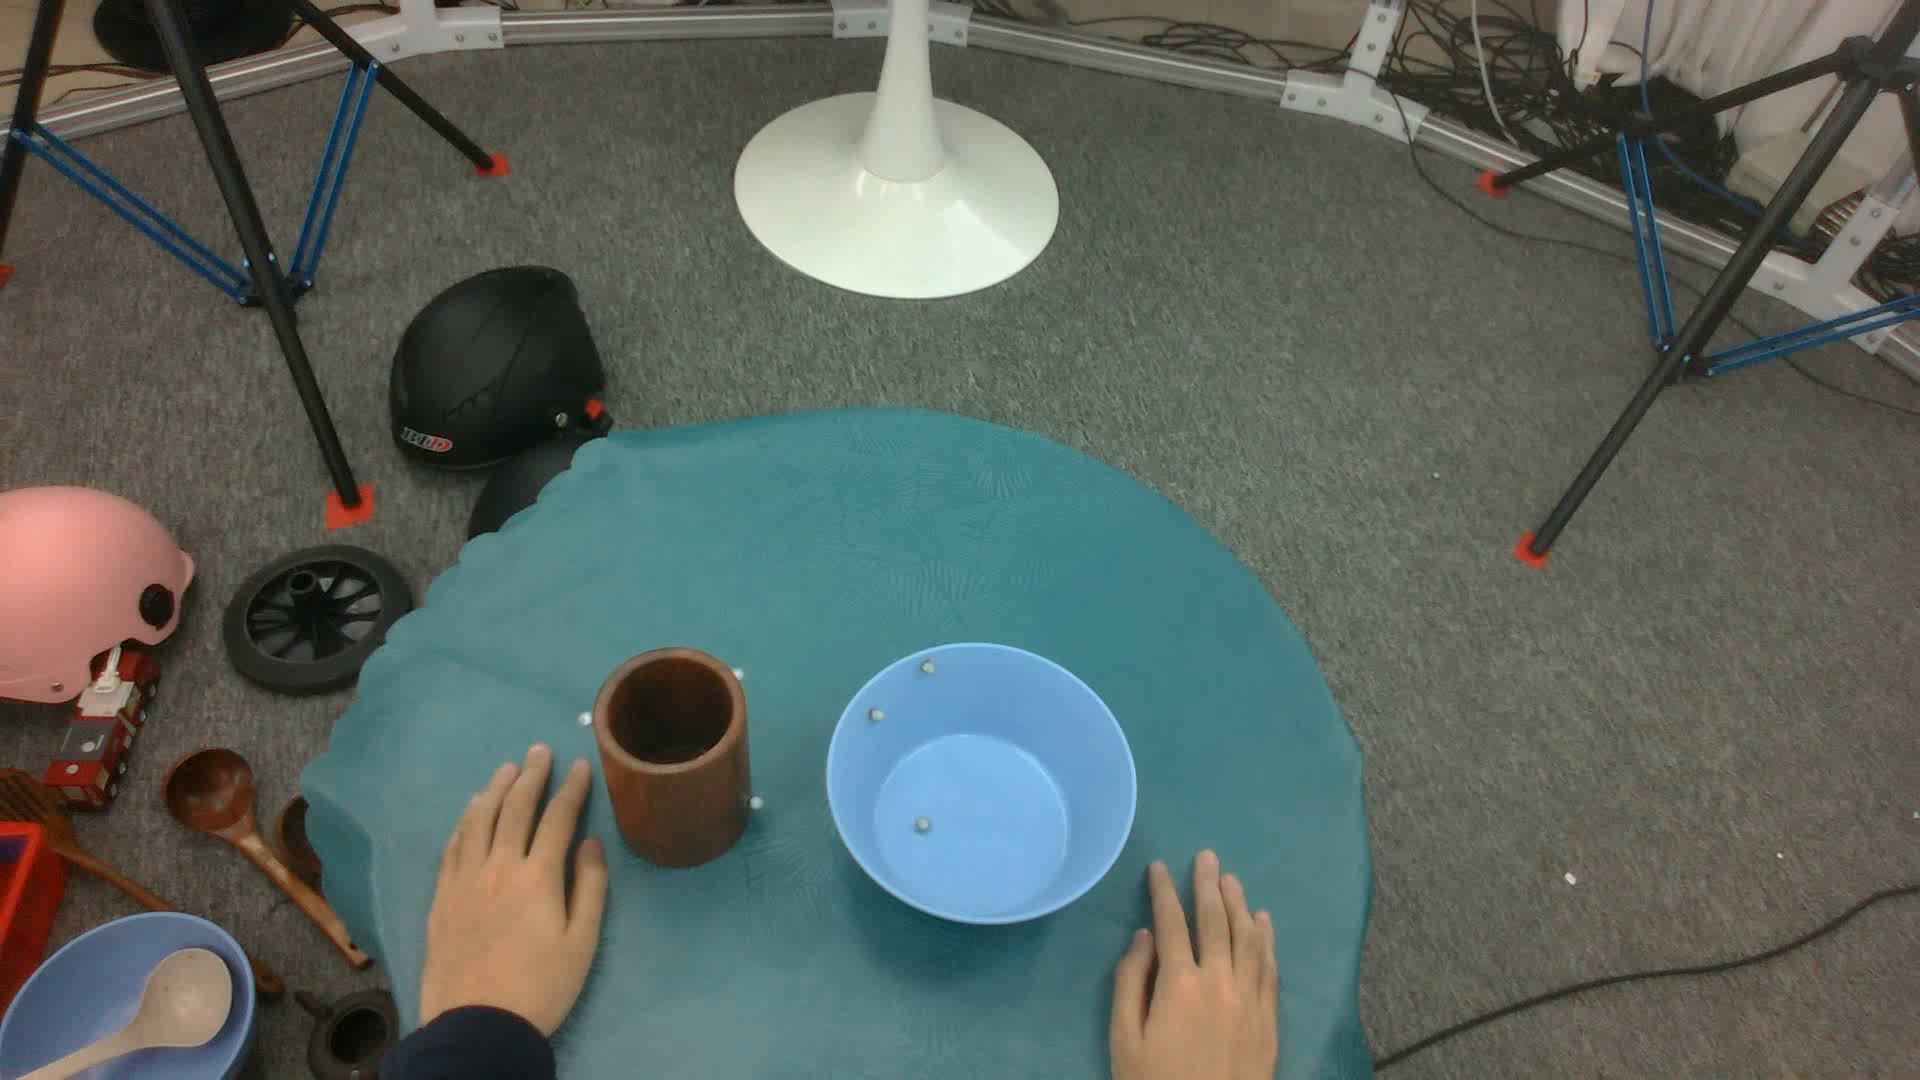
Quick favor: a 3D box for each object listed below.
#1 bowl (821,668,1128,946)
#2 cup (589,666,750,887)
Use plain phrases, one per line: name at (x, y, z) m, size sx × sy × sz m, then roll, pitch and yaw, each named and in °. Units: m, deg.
bowl at (0.006, 0.166, 0.808) m, size 0.176 × 0.070 × 0.177 m, roll 3°, pitch 50°, yaw -4°
cup at (-0.161, 0.136, 0.782) m, size 0.088 × 0.118 × 0.088 m, roll 3°, pitch 52°, yaw -3°
